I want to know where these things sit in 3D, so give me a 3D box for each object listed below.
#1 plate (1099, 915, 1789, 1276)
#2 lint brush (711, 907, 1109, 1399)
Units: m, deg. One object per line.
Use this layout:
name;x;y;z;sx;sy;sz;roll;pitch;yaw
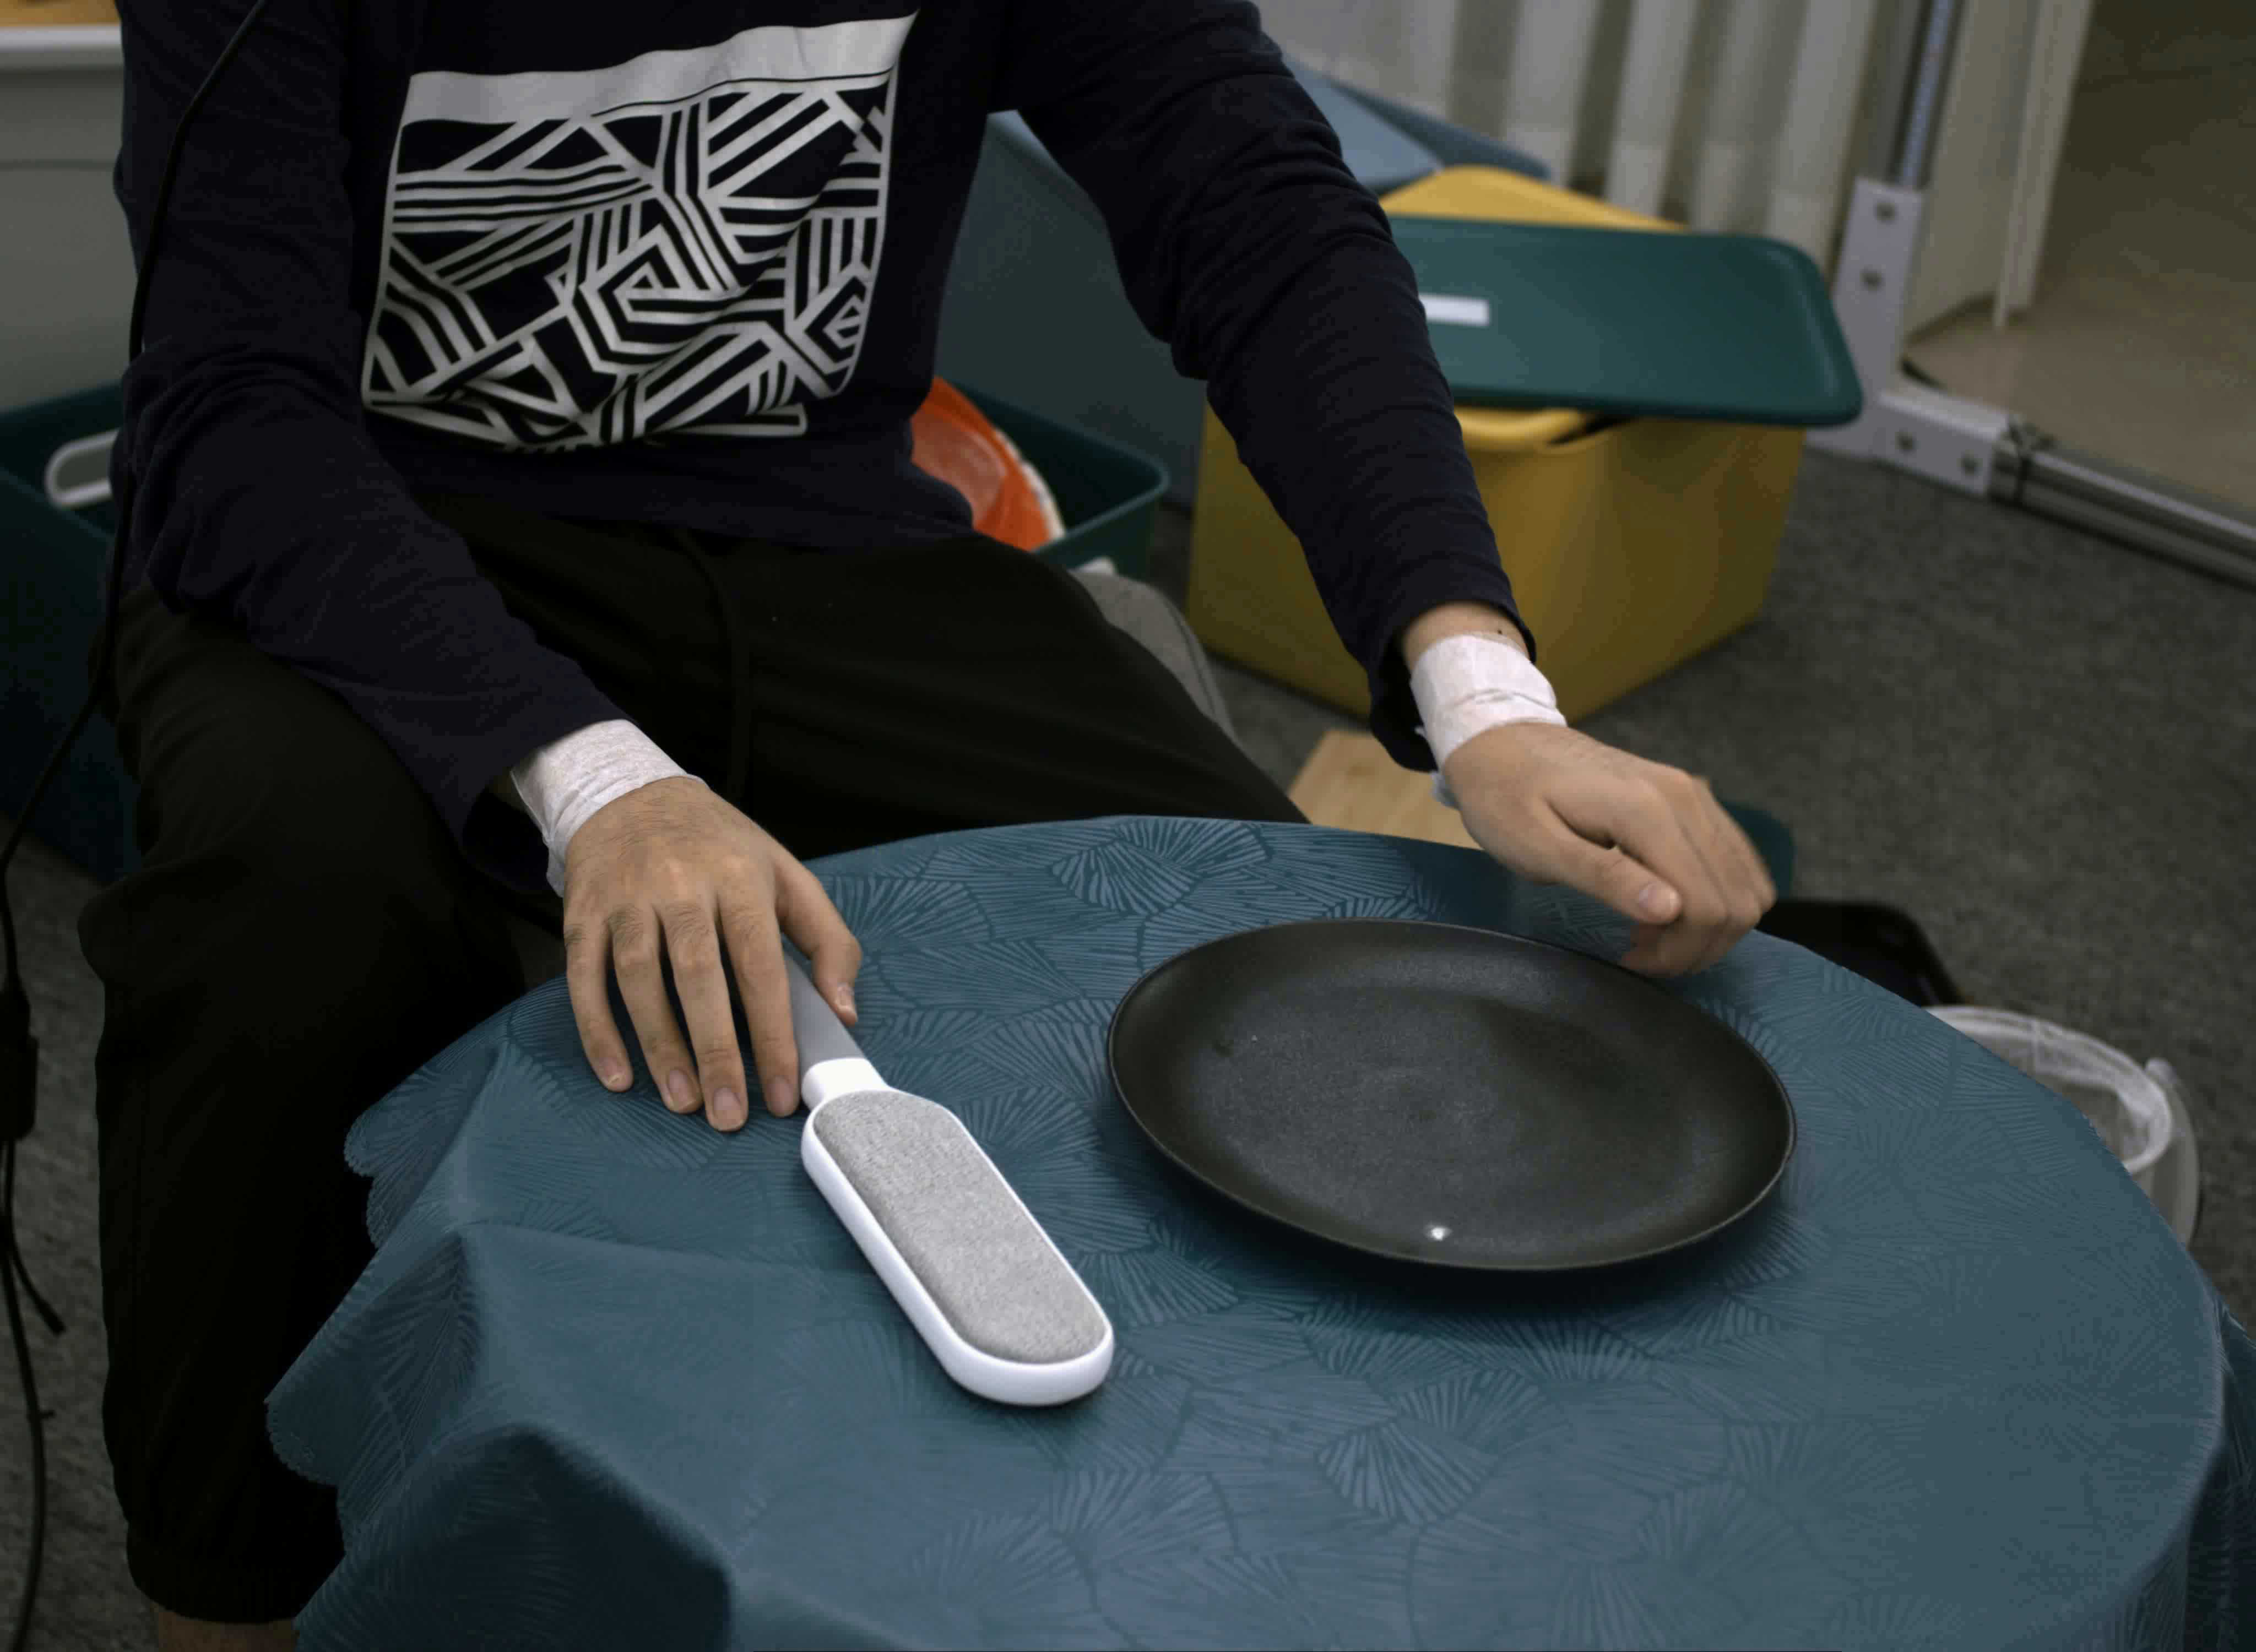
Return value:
plate;0.109;0.098;1.856;0.243;0.023;0.246;5;27;-3
lint brush;-0.081;0.105;1.794;0.060;0.021;0.312;-10;31;-20
